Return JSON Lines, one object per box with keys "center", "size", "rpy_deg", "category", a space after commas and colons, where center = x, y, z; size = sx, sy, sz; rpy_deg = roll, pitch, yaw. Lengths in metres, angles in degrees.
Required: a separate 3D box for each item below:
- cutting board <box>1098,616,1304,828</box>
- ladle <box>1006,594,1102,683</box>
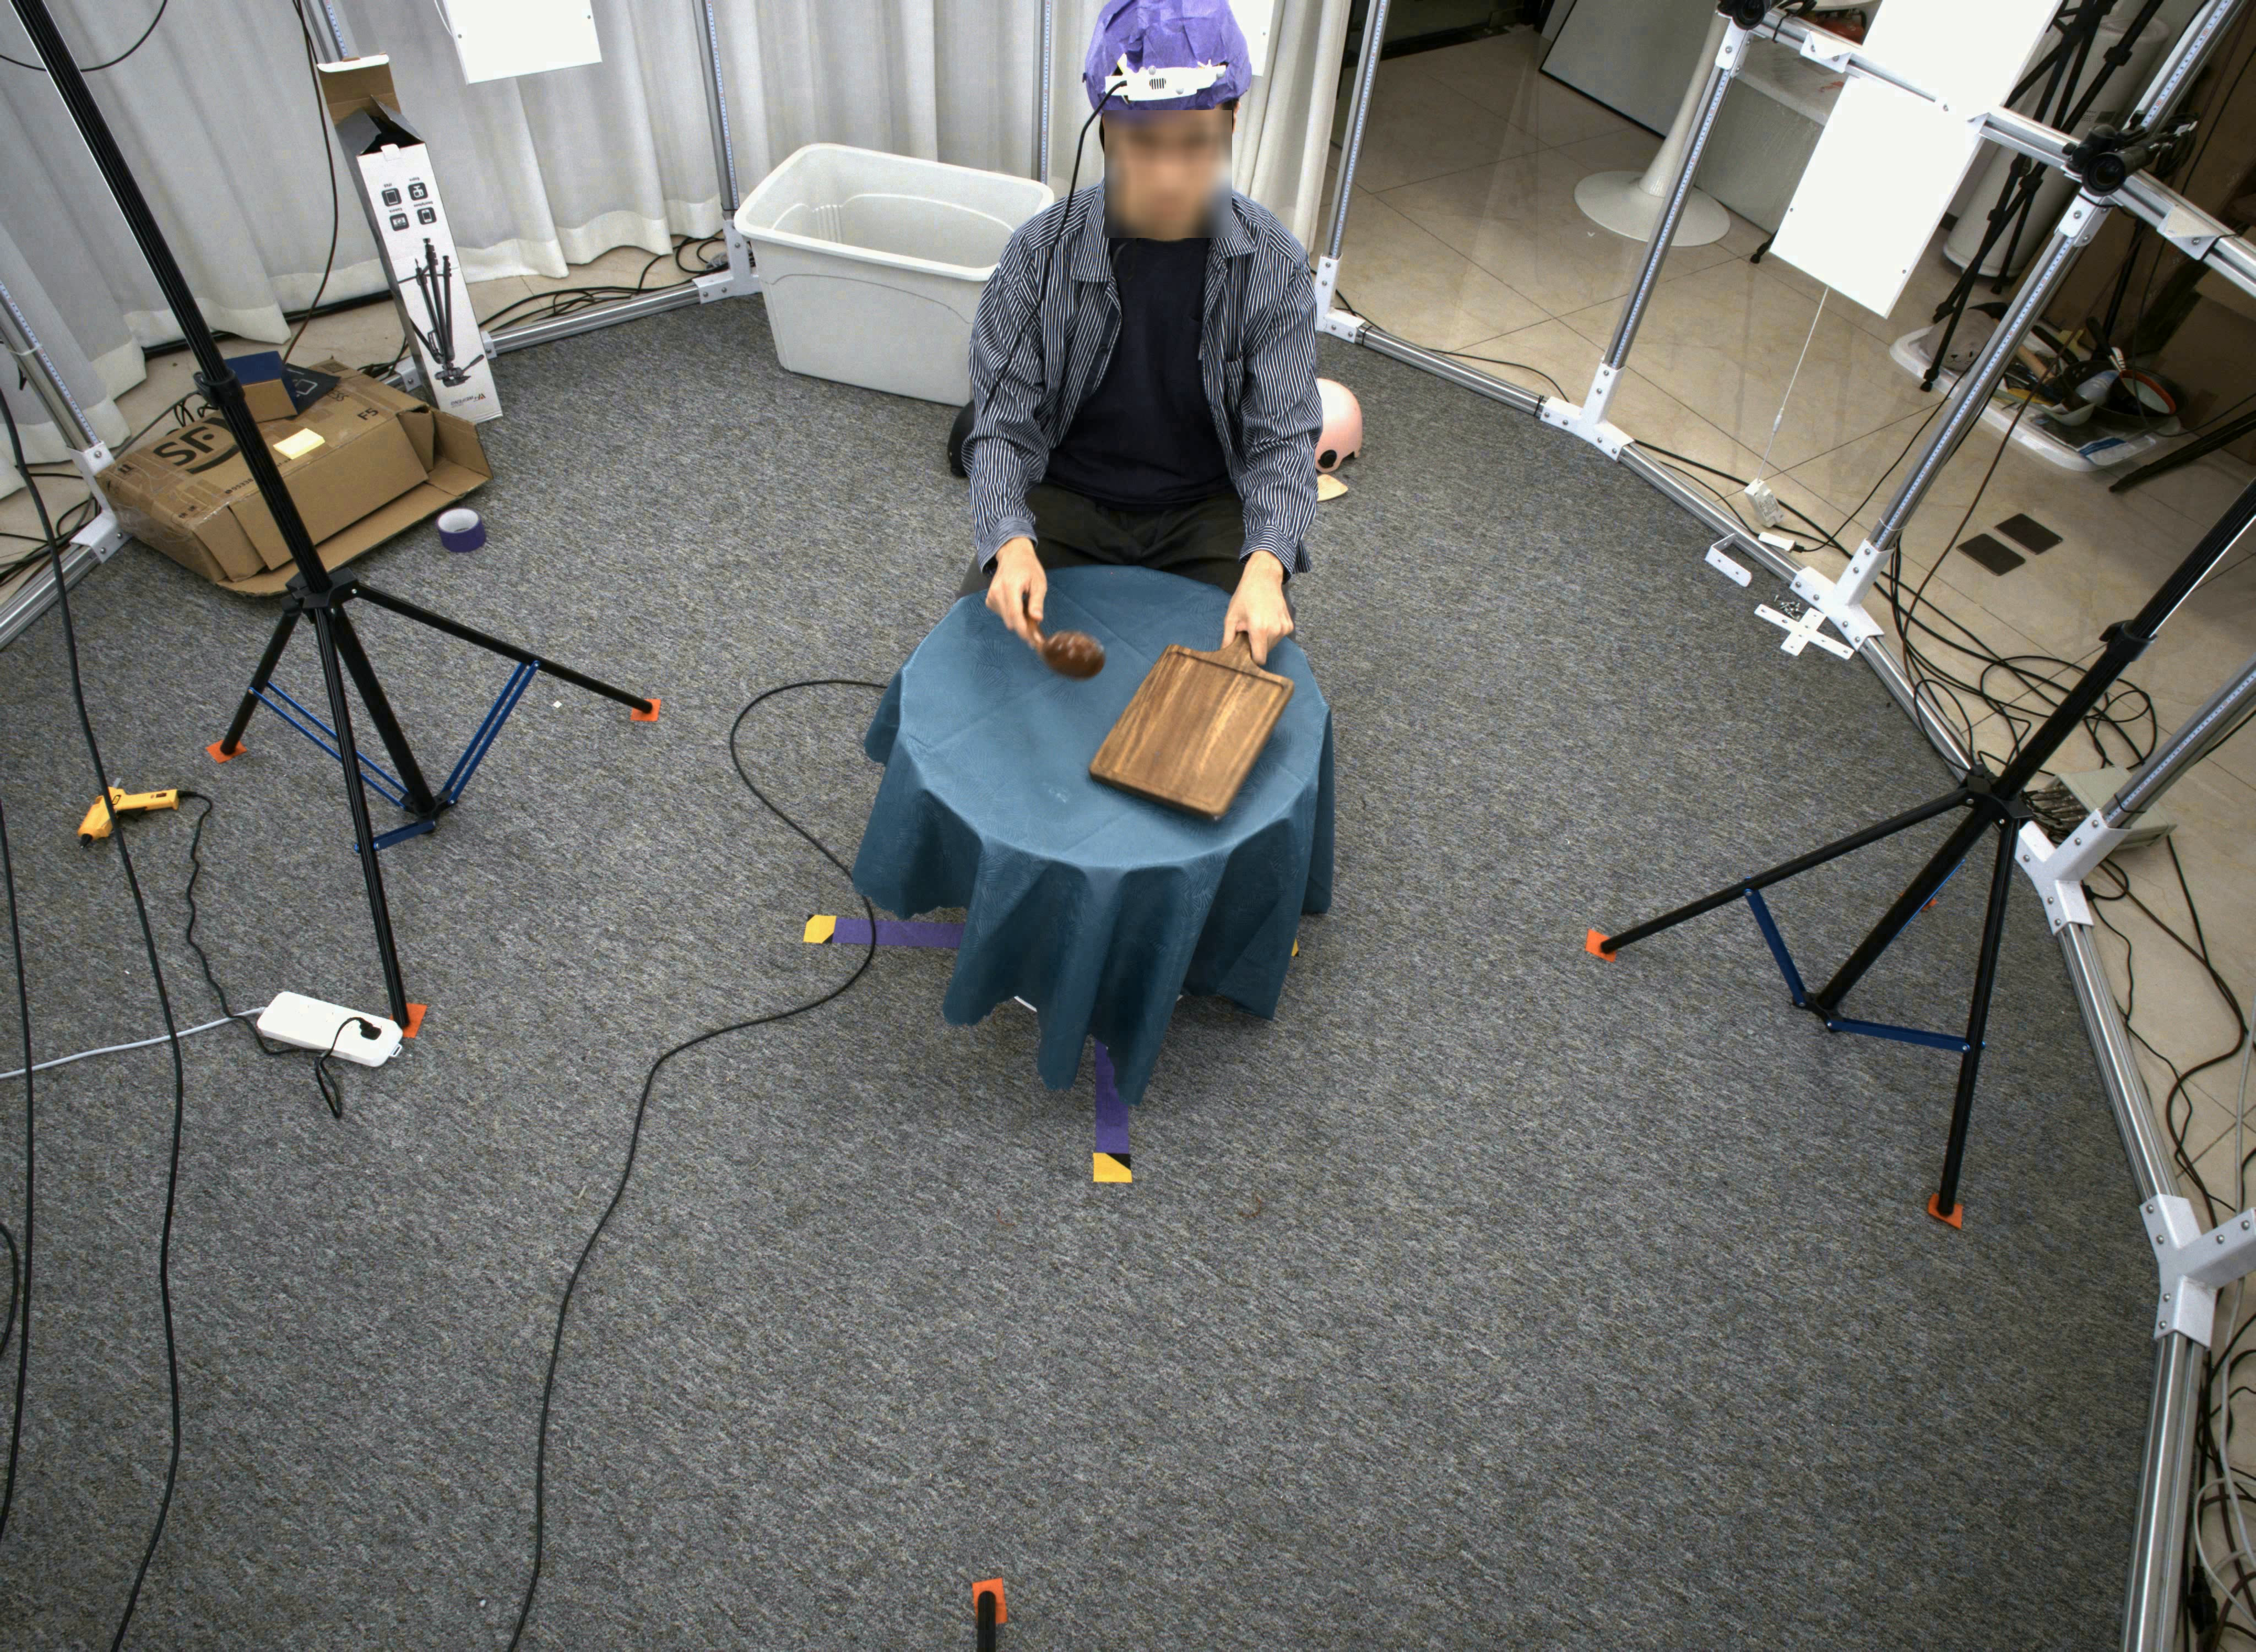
{"center": [0.123, -0.162, 1.751], "size": [0.202, 0.022, 0.358], "rpy_deg": [20, 58, 20], "category": "cutting board"}
{"center": [-0.104, -0.270, 1.717], "size": [0.076, 0.080, 0.280], "rpy_deg": [-37, 36, 8], "category": "ladle"}
